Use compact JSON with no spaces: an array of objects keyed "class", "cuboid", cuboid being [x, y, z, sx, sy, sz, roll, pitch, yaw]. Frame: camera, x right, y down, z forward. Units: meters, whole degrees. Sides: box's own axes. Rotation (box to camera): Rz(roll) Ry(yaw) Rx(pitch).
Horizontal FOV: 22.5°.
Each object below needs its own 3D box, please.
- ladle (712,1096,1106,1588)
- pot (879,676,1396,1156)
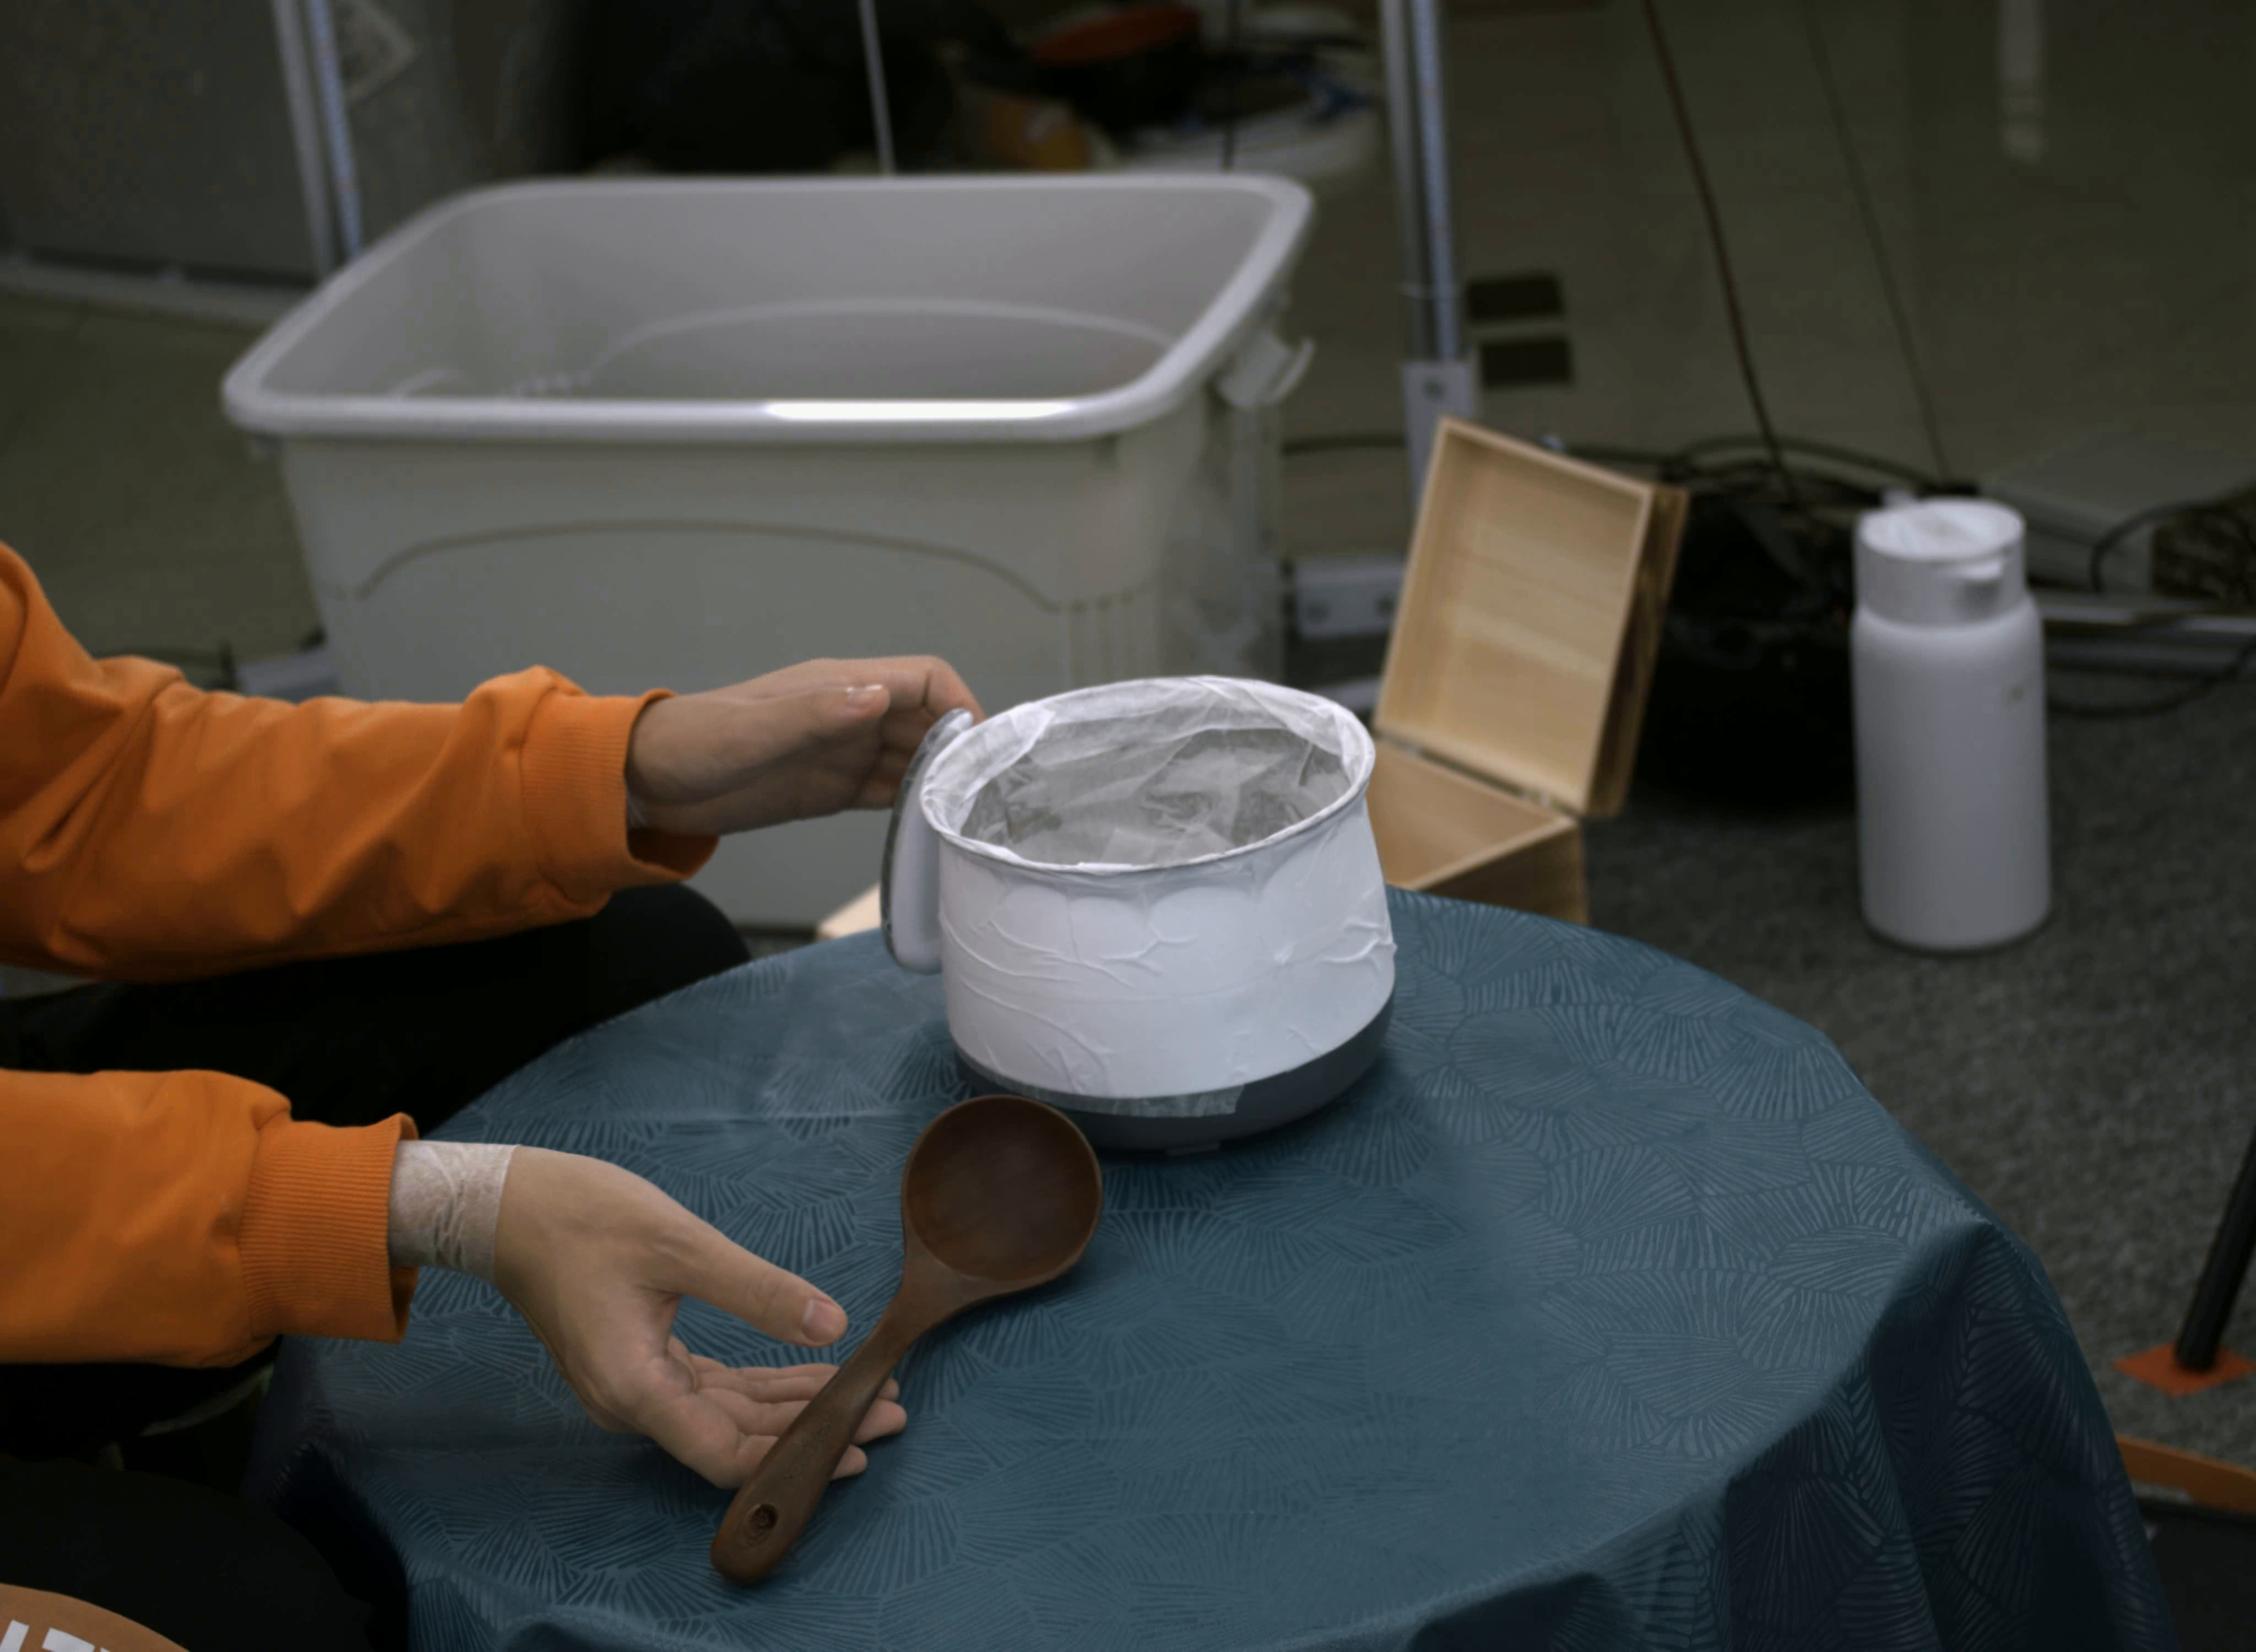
[{"class":"ladle","cuboid":[-0.081,0.179,2.009,0.076,0.066,0.257,28,32,8]},{"class":"pot","cuboid":[-0.008,0.030,2.217,0.232,0.139,0.177,15,32,37]}]
